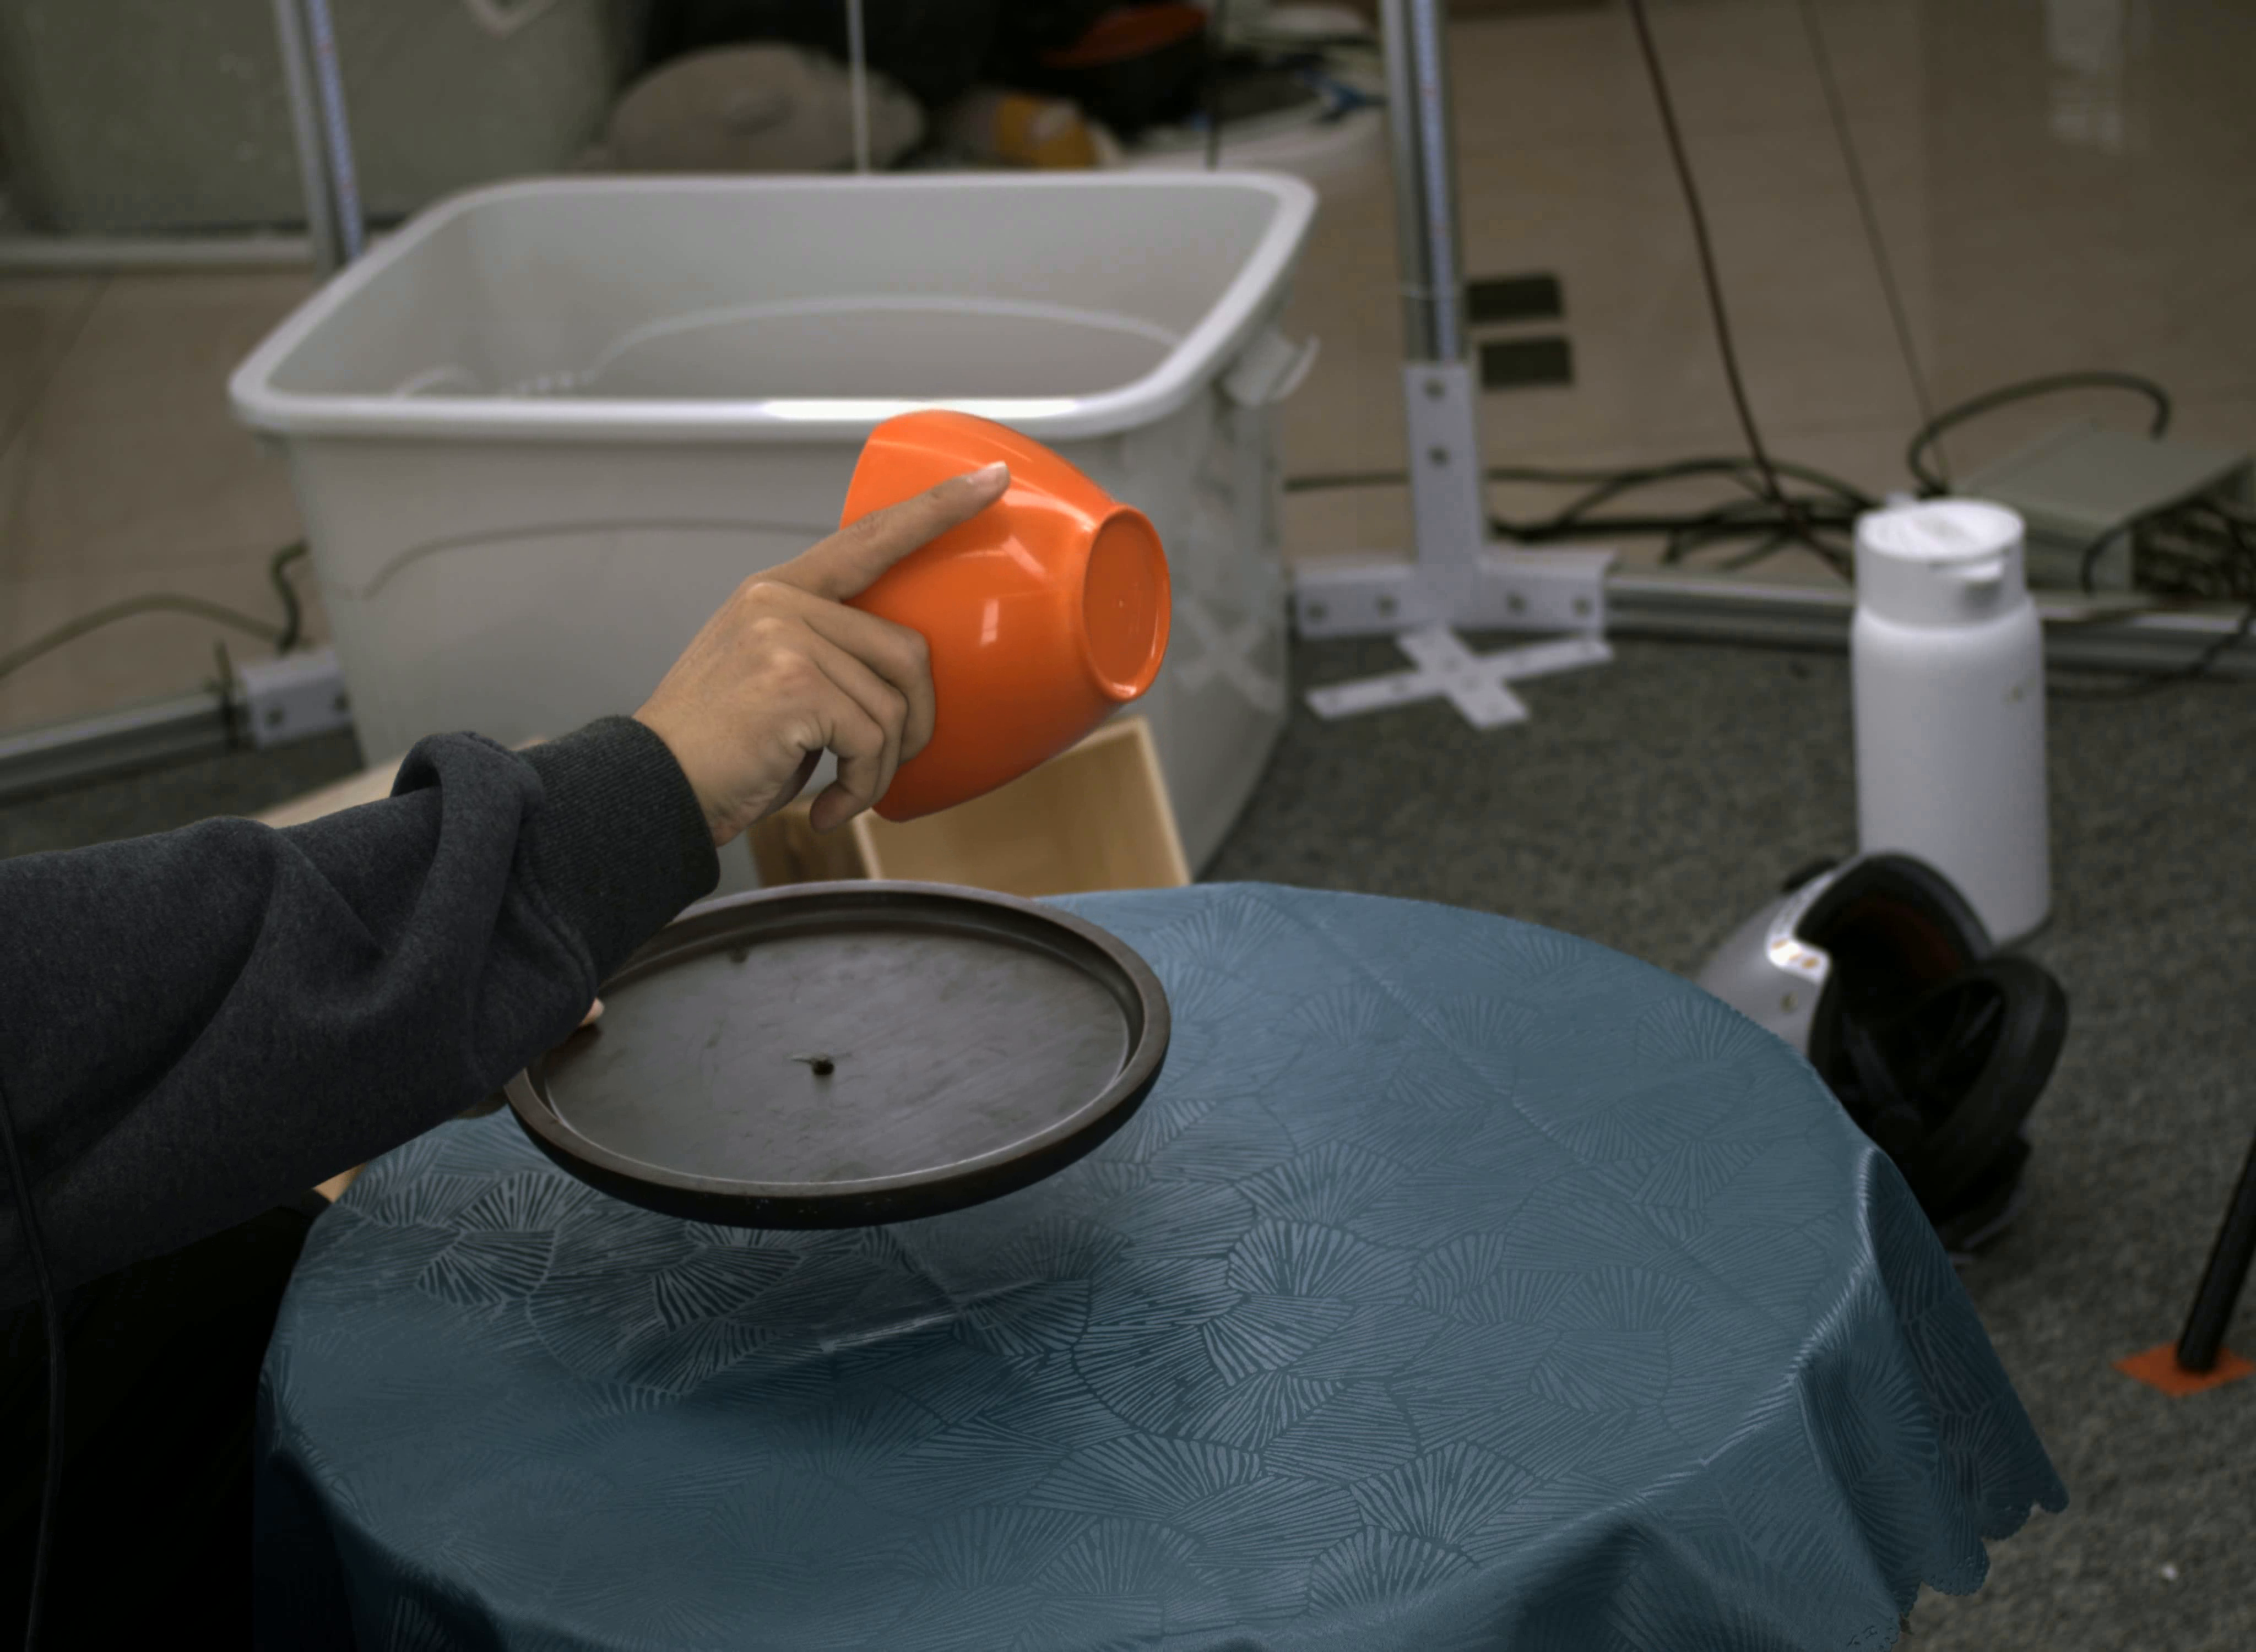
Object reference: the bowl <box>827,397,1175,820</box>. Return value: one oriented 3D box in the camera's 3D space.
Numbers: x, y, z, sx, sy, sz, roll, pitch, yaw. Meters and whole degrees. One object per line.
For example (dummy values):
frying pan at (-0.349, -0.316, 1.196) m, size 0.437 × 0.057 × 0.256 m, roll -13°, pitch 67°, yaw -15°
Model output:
bowl at (-0.039, -0.074, 1.944) m, size 0.104 × 0.150 × 0.146 m, roll 4°, pitch 27°, yaw 28°

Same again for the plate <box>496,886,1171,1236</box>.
plate at (-0.110, 0.086, 2.122) m, size 0.254 × 0.029 × 0.251 m, roll -2°, pitch 28°, yaw 1°
